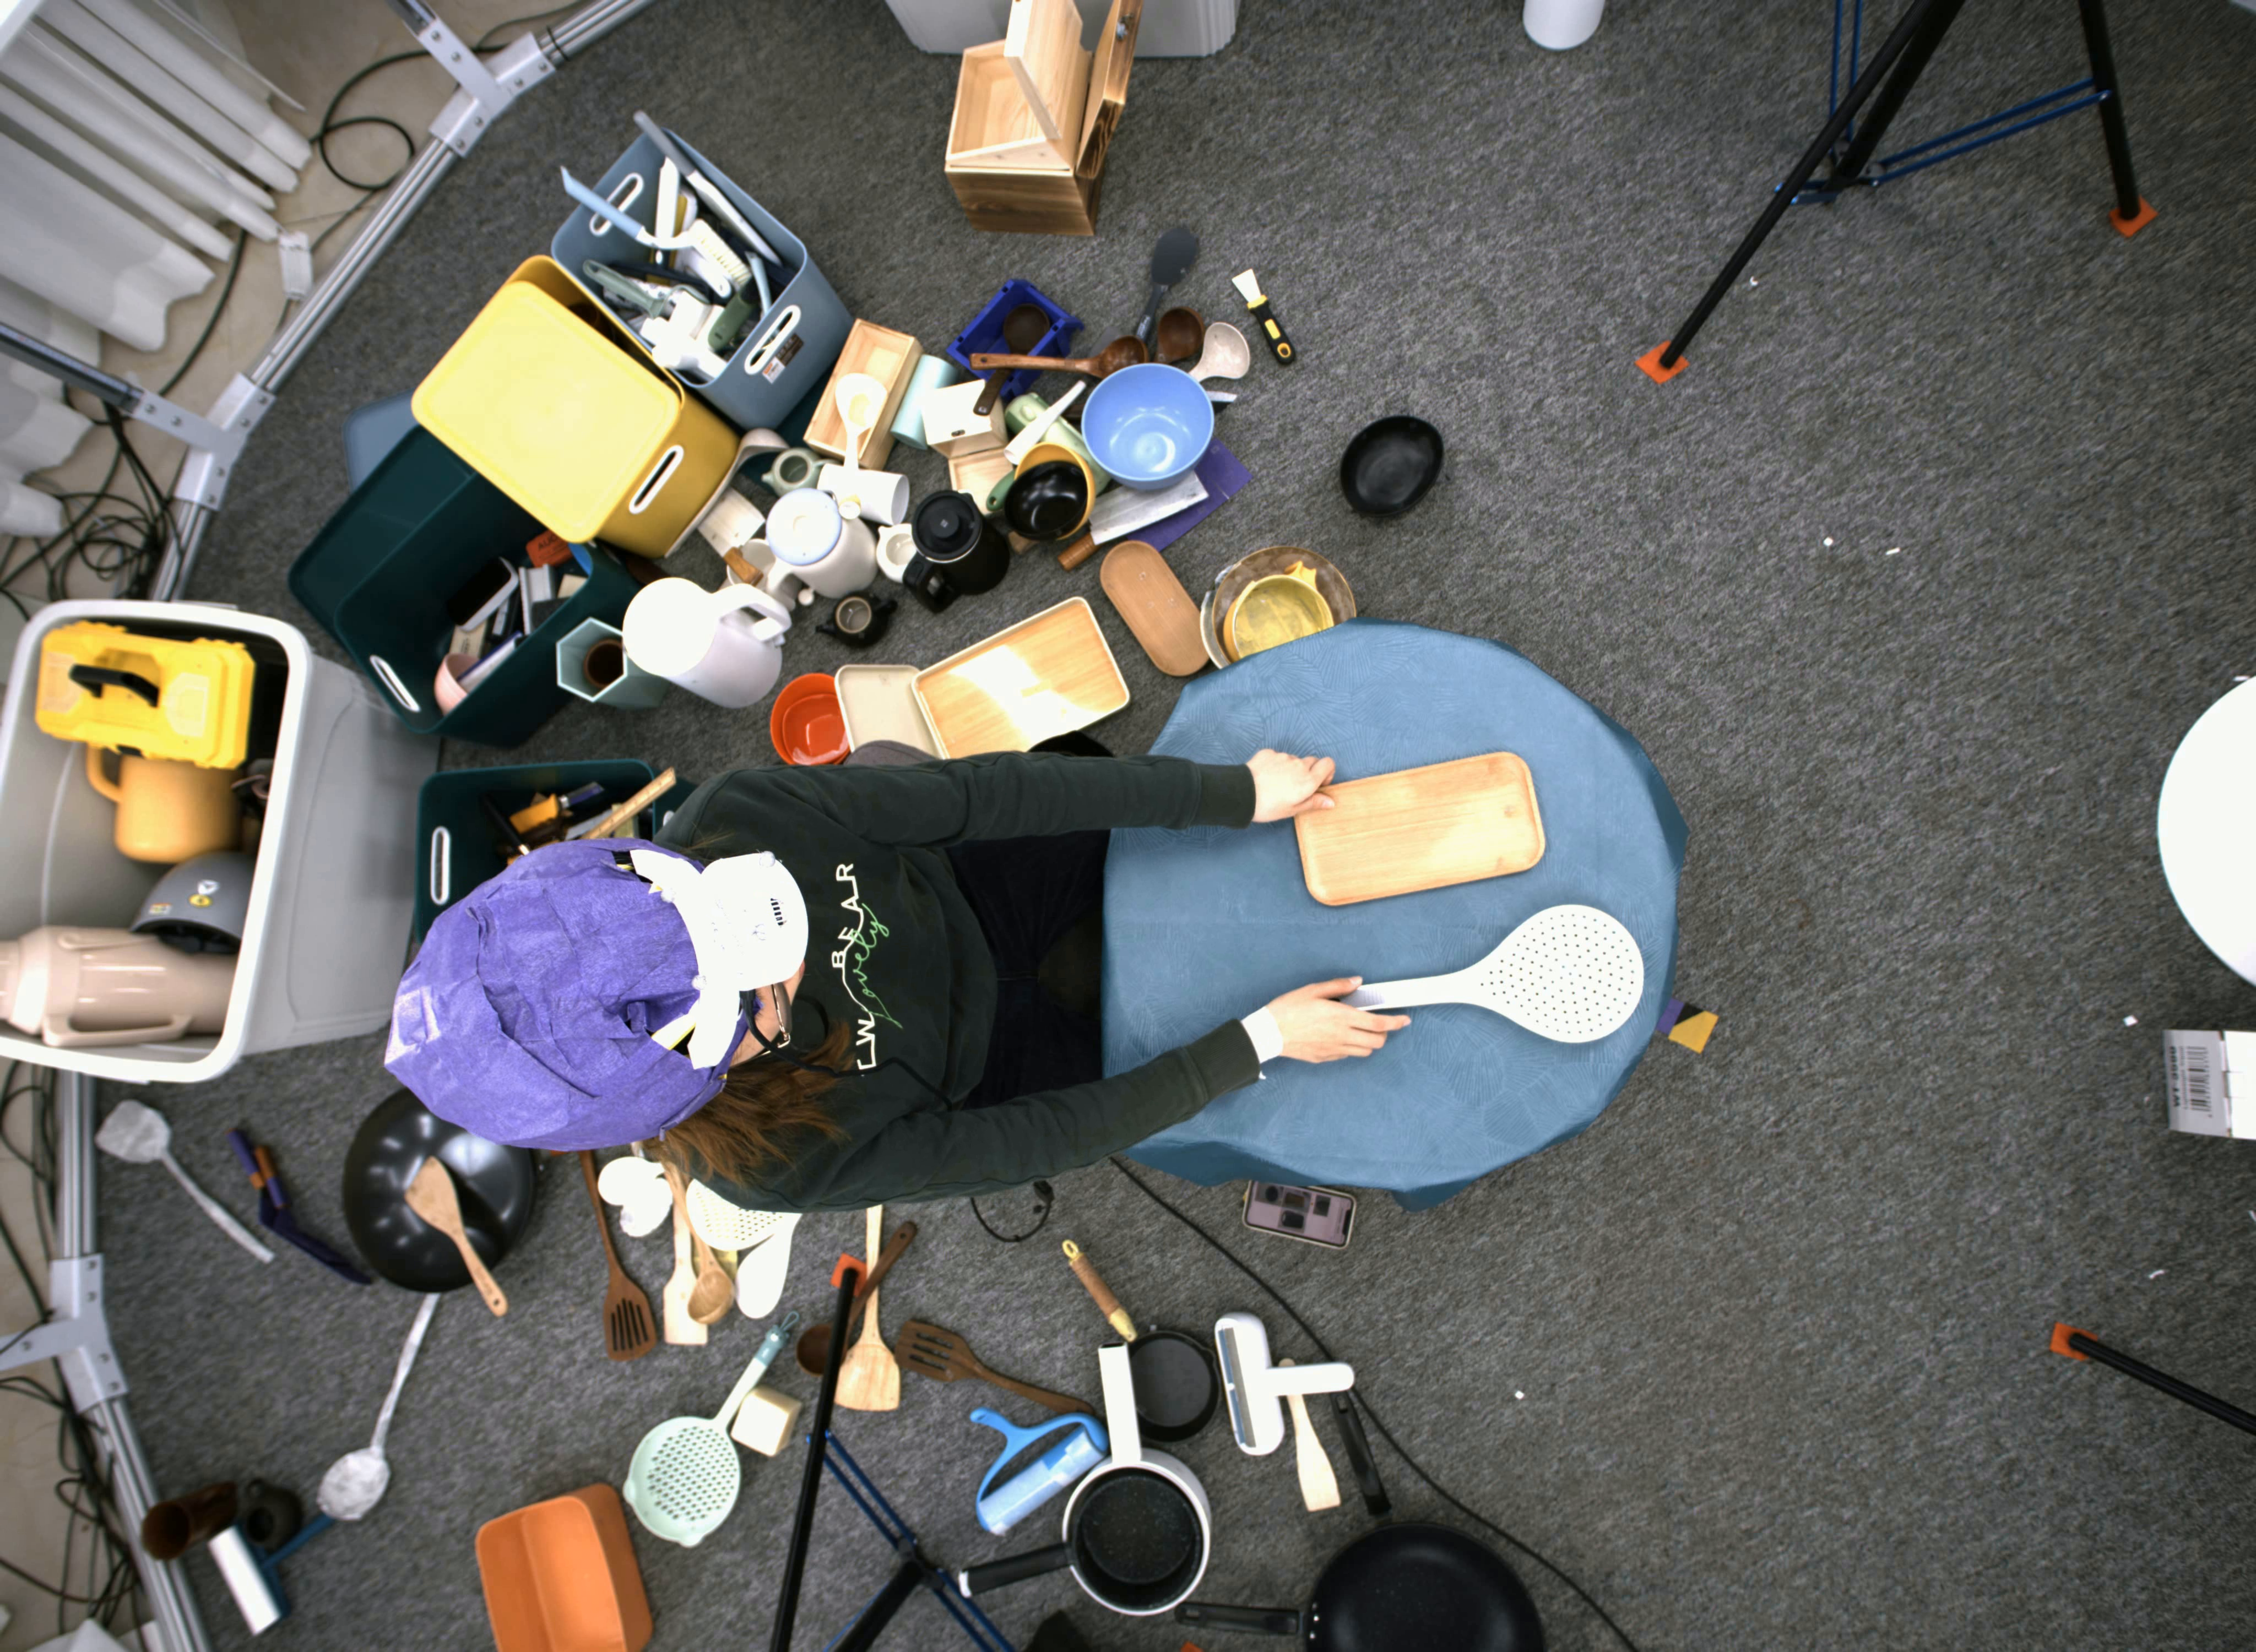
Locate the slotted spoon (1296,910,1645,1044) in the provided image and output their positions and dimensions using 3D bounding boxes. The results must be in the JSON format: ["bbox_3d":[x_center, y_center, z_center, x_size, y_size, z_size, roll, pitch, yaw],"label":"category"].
[{"bbox_3d":[0.348,0.166,1.421,0.351,0.046,0.135,-8,82,11],"label":"slotted spoon"}]

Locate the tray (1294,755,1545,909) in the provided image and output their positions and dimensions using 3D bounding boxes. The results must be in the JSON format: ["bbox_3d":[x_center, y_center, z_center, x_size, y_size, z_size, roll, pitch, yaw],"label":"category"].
[{"bbox_3d":[0.306,0.005,1.454,0.252,0.023,0.129,-11,82,10],"label":"tray"}]
